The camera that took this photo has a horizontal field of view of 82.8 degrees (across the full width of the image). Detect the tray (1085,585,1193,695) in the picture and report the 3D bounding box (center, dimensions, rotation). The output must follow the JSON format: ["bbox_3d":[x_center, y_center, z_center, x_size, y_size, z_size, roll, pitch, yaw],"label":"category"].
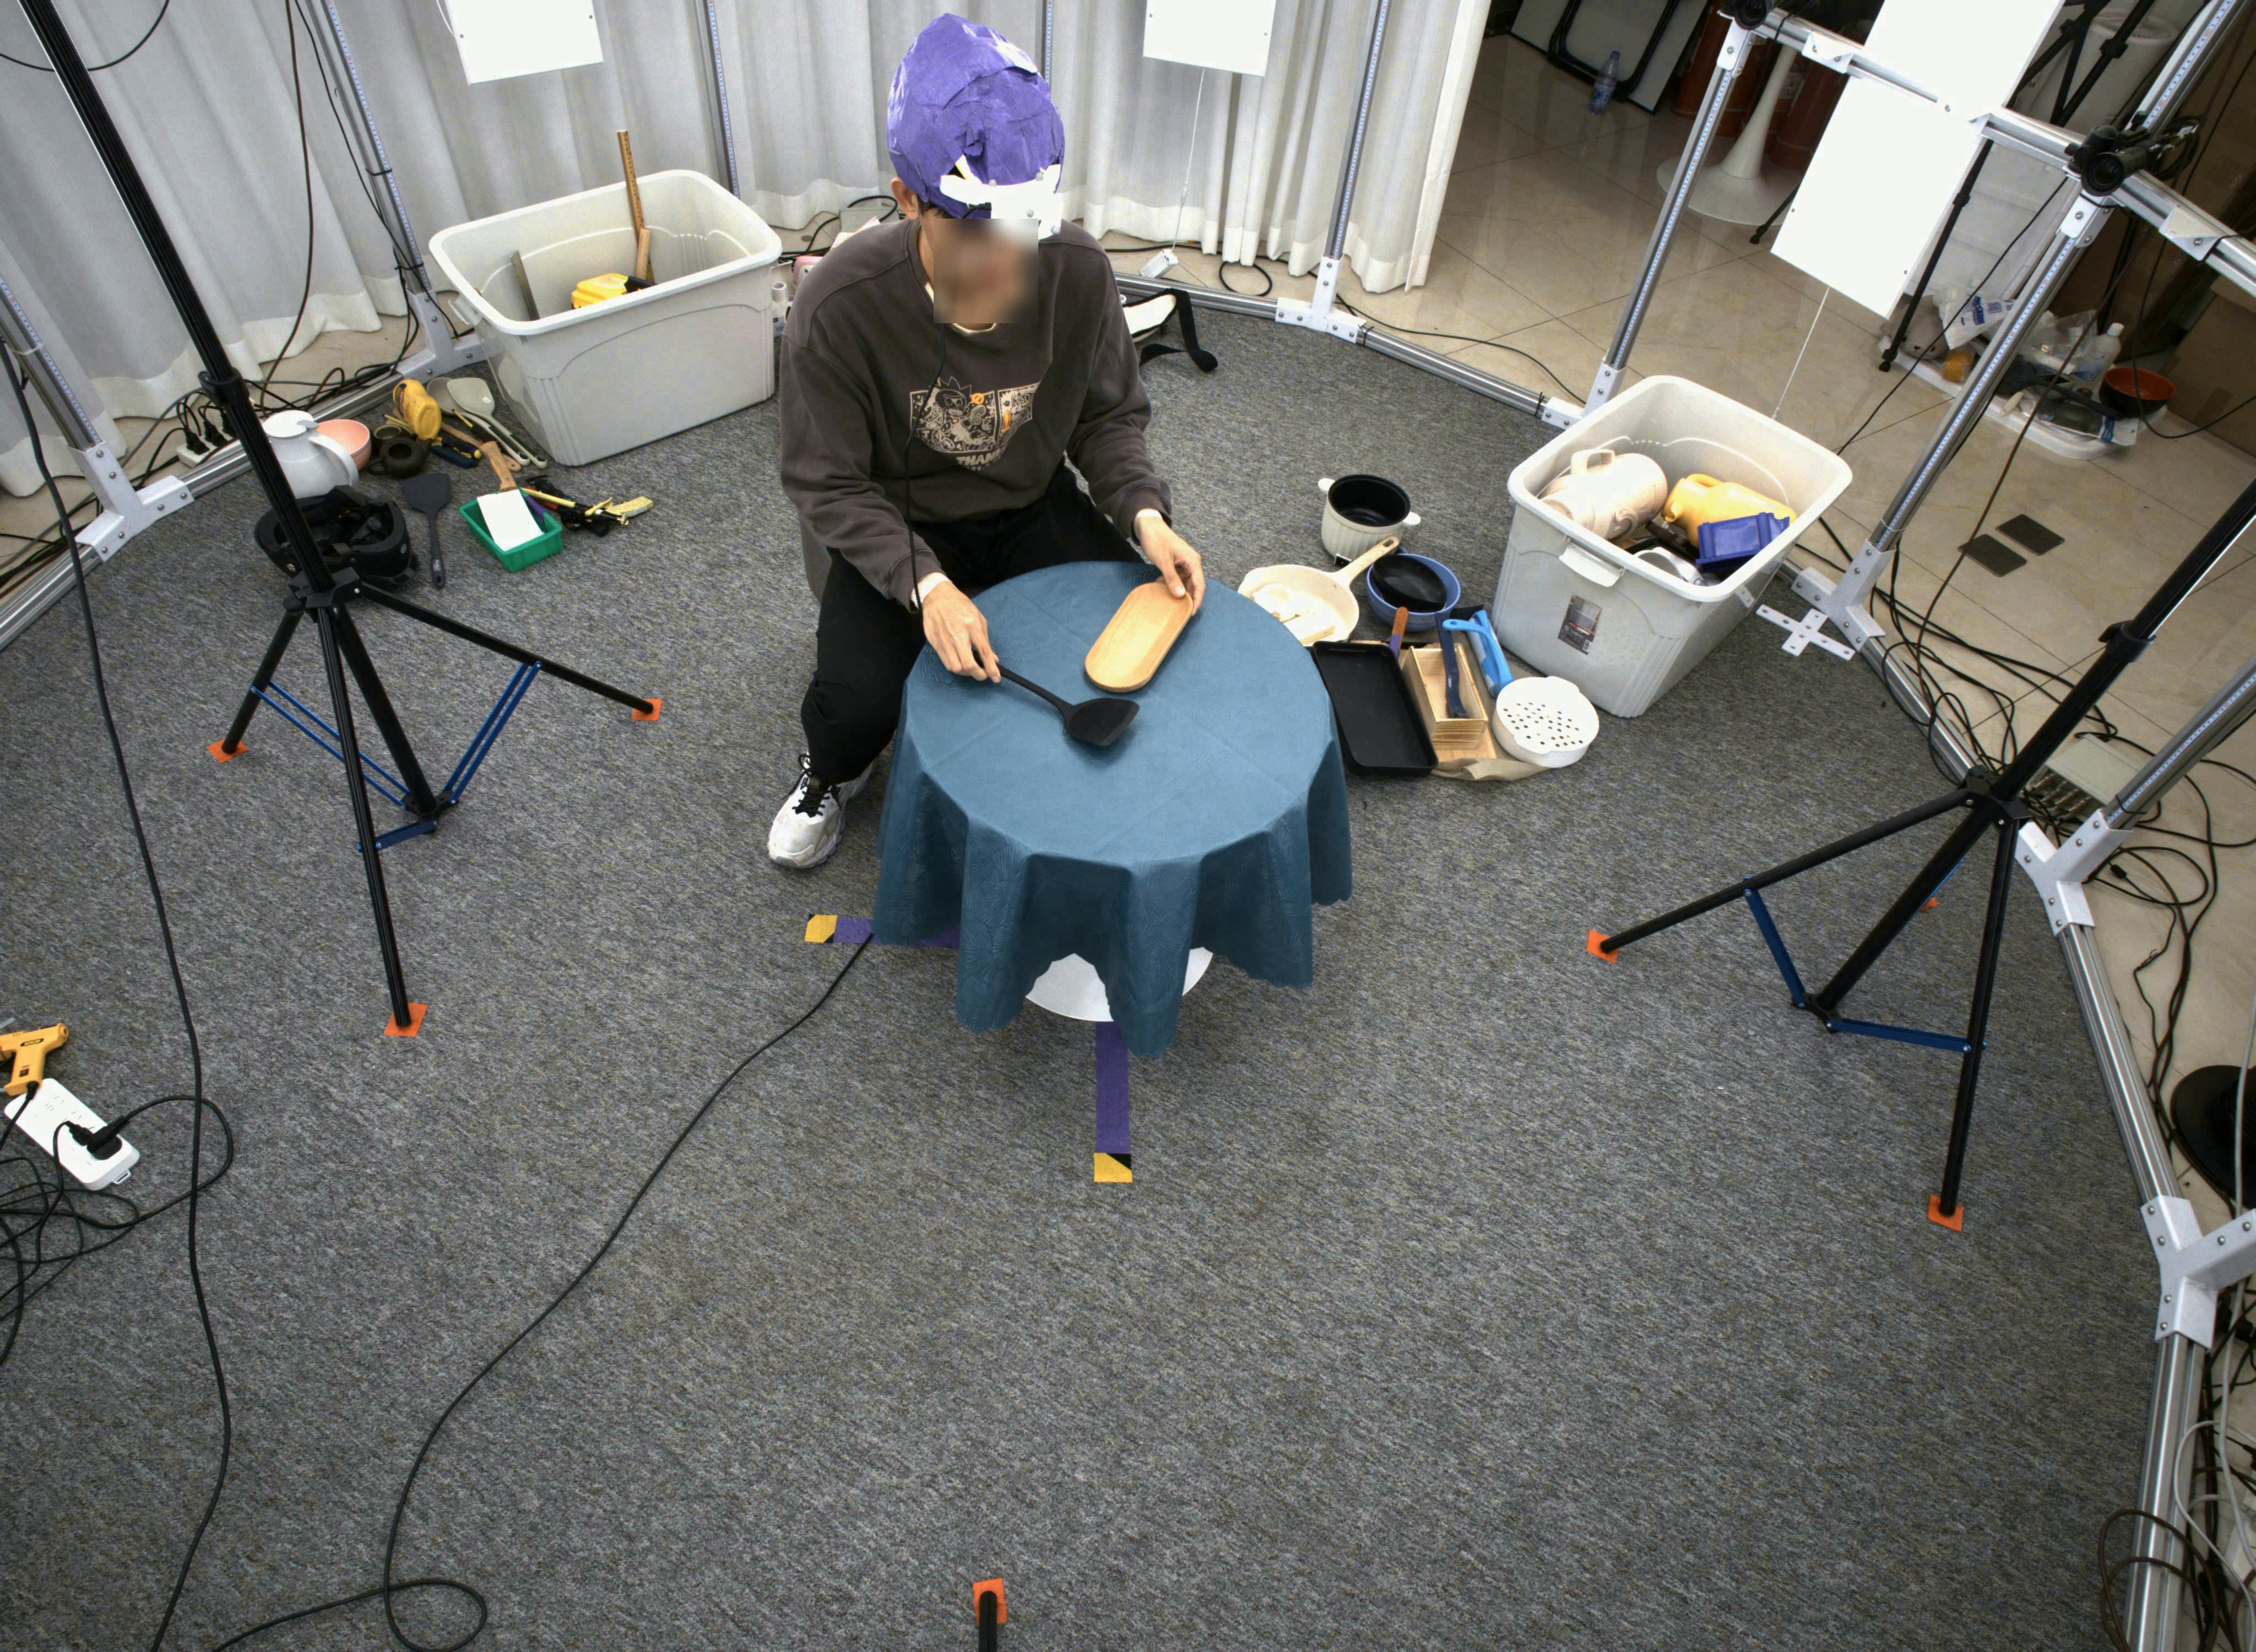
[{"bbox_3d":[0.018,-0.276,1.887,0.102,0.020,0.235,18,55,19],"label":"tray"}]

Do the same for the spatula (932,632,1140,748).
[{"bbox_3d":[-0.141,-0.203,1.799,0.328,0.039,0.101,31,53,14],"label":"spatula"}]
